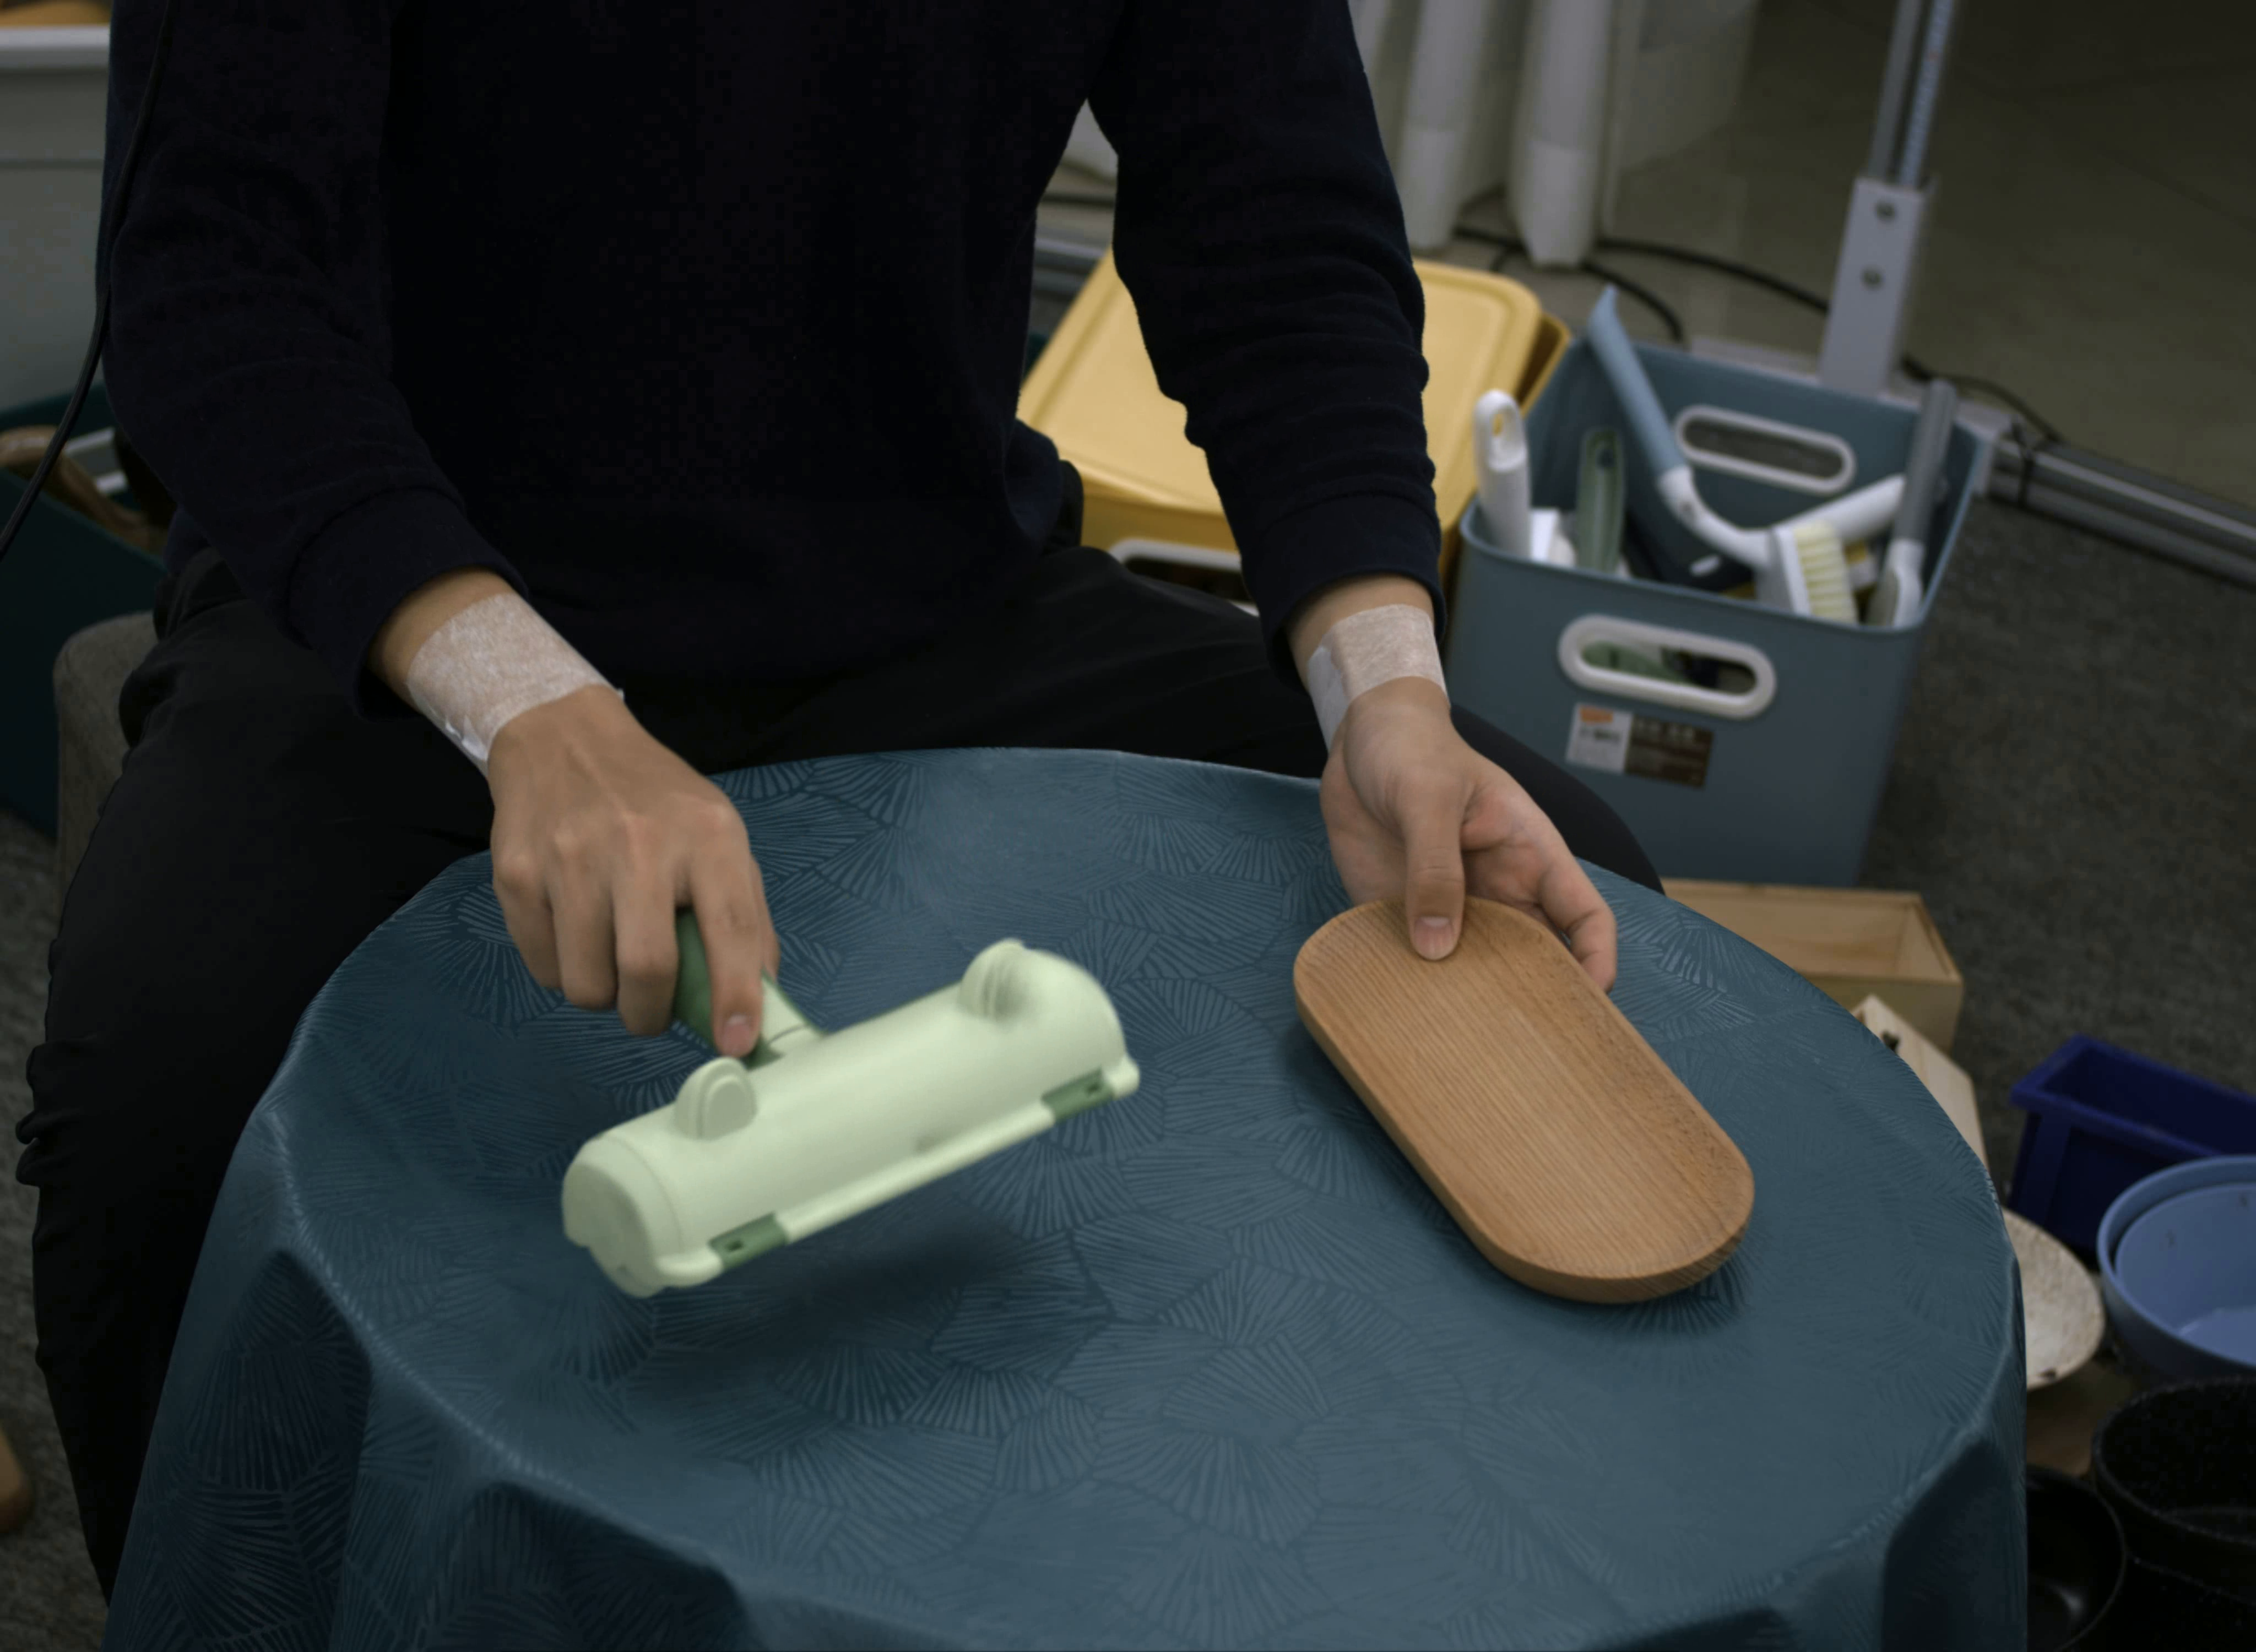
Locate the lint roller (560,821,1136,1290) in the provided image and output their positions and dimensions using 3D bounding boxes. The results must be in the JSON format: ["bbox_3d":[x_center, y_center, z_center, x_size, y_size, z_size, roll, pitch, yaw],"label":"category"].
[{"bbox_3d":[-0.120,0.047,1.716,0.198,0.082,0.184,-23,62,-36],"label":"lint roller"}]

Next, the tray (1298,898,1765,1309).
[{"bbox_3d":[0.138,0.094,1.848,0.101,0.020,0.233,-16,38,-18],"label":"tray"}]
